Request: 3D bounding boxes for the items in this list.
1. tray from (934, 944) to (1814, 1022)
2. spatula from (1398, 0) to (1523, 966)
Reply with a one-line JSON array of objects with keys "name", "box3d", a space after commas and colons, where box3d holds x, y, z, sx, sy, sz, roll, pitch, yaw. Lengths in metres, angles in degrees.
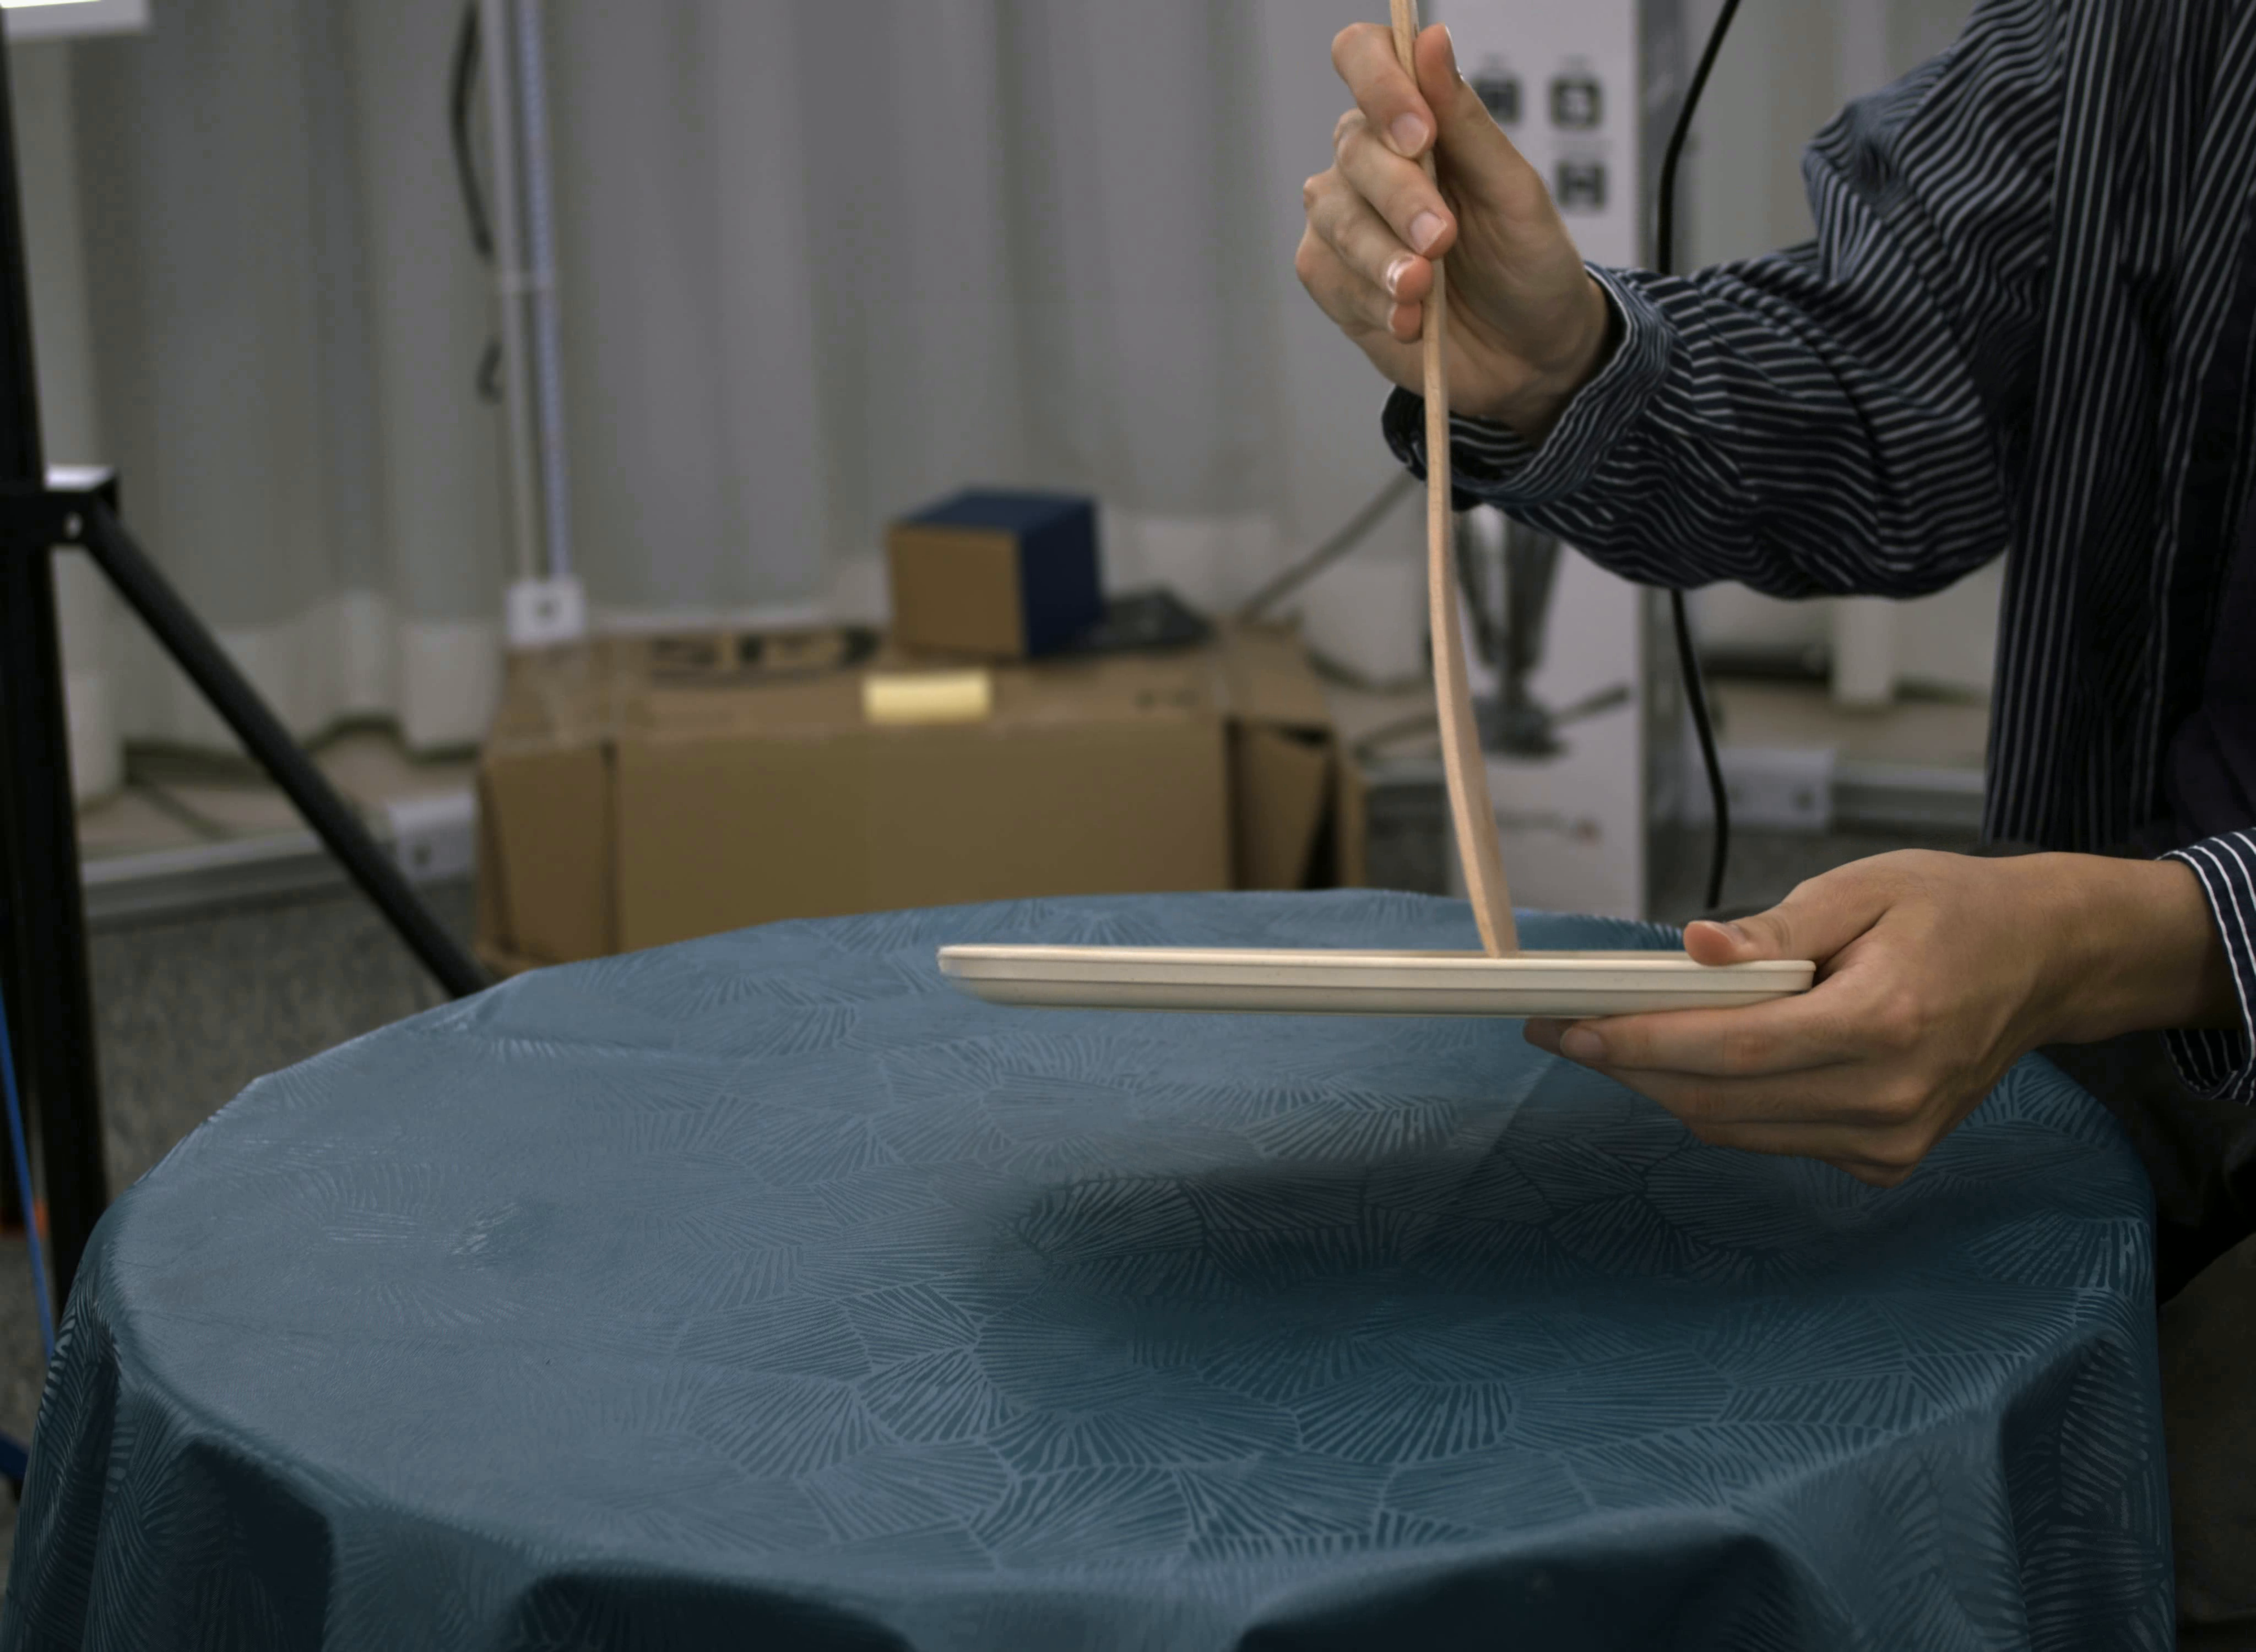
[{"name": "tray", "box3d": [0.066, 0.045, 1.517, 0.238, 0.017, 0.172, 1, -1, -4]}, {"name": "spatula", "box3d": [0.099, -0.107, 1.597, 0.016, 0.330, 0.079, -6, -13, 9]}]
